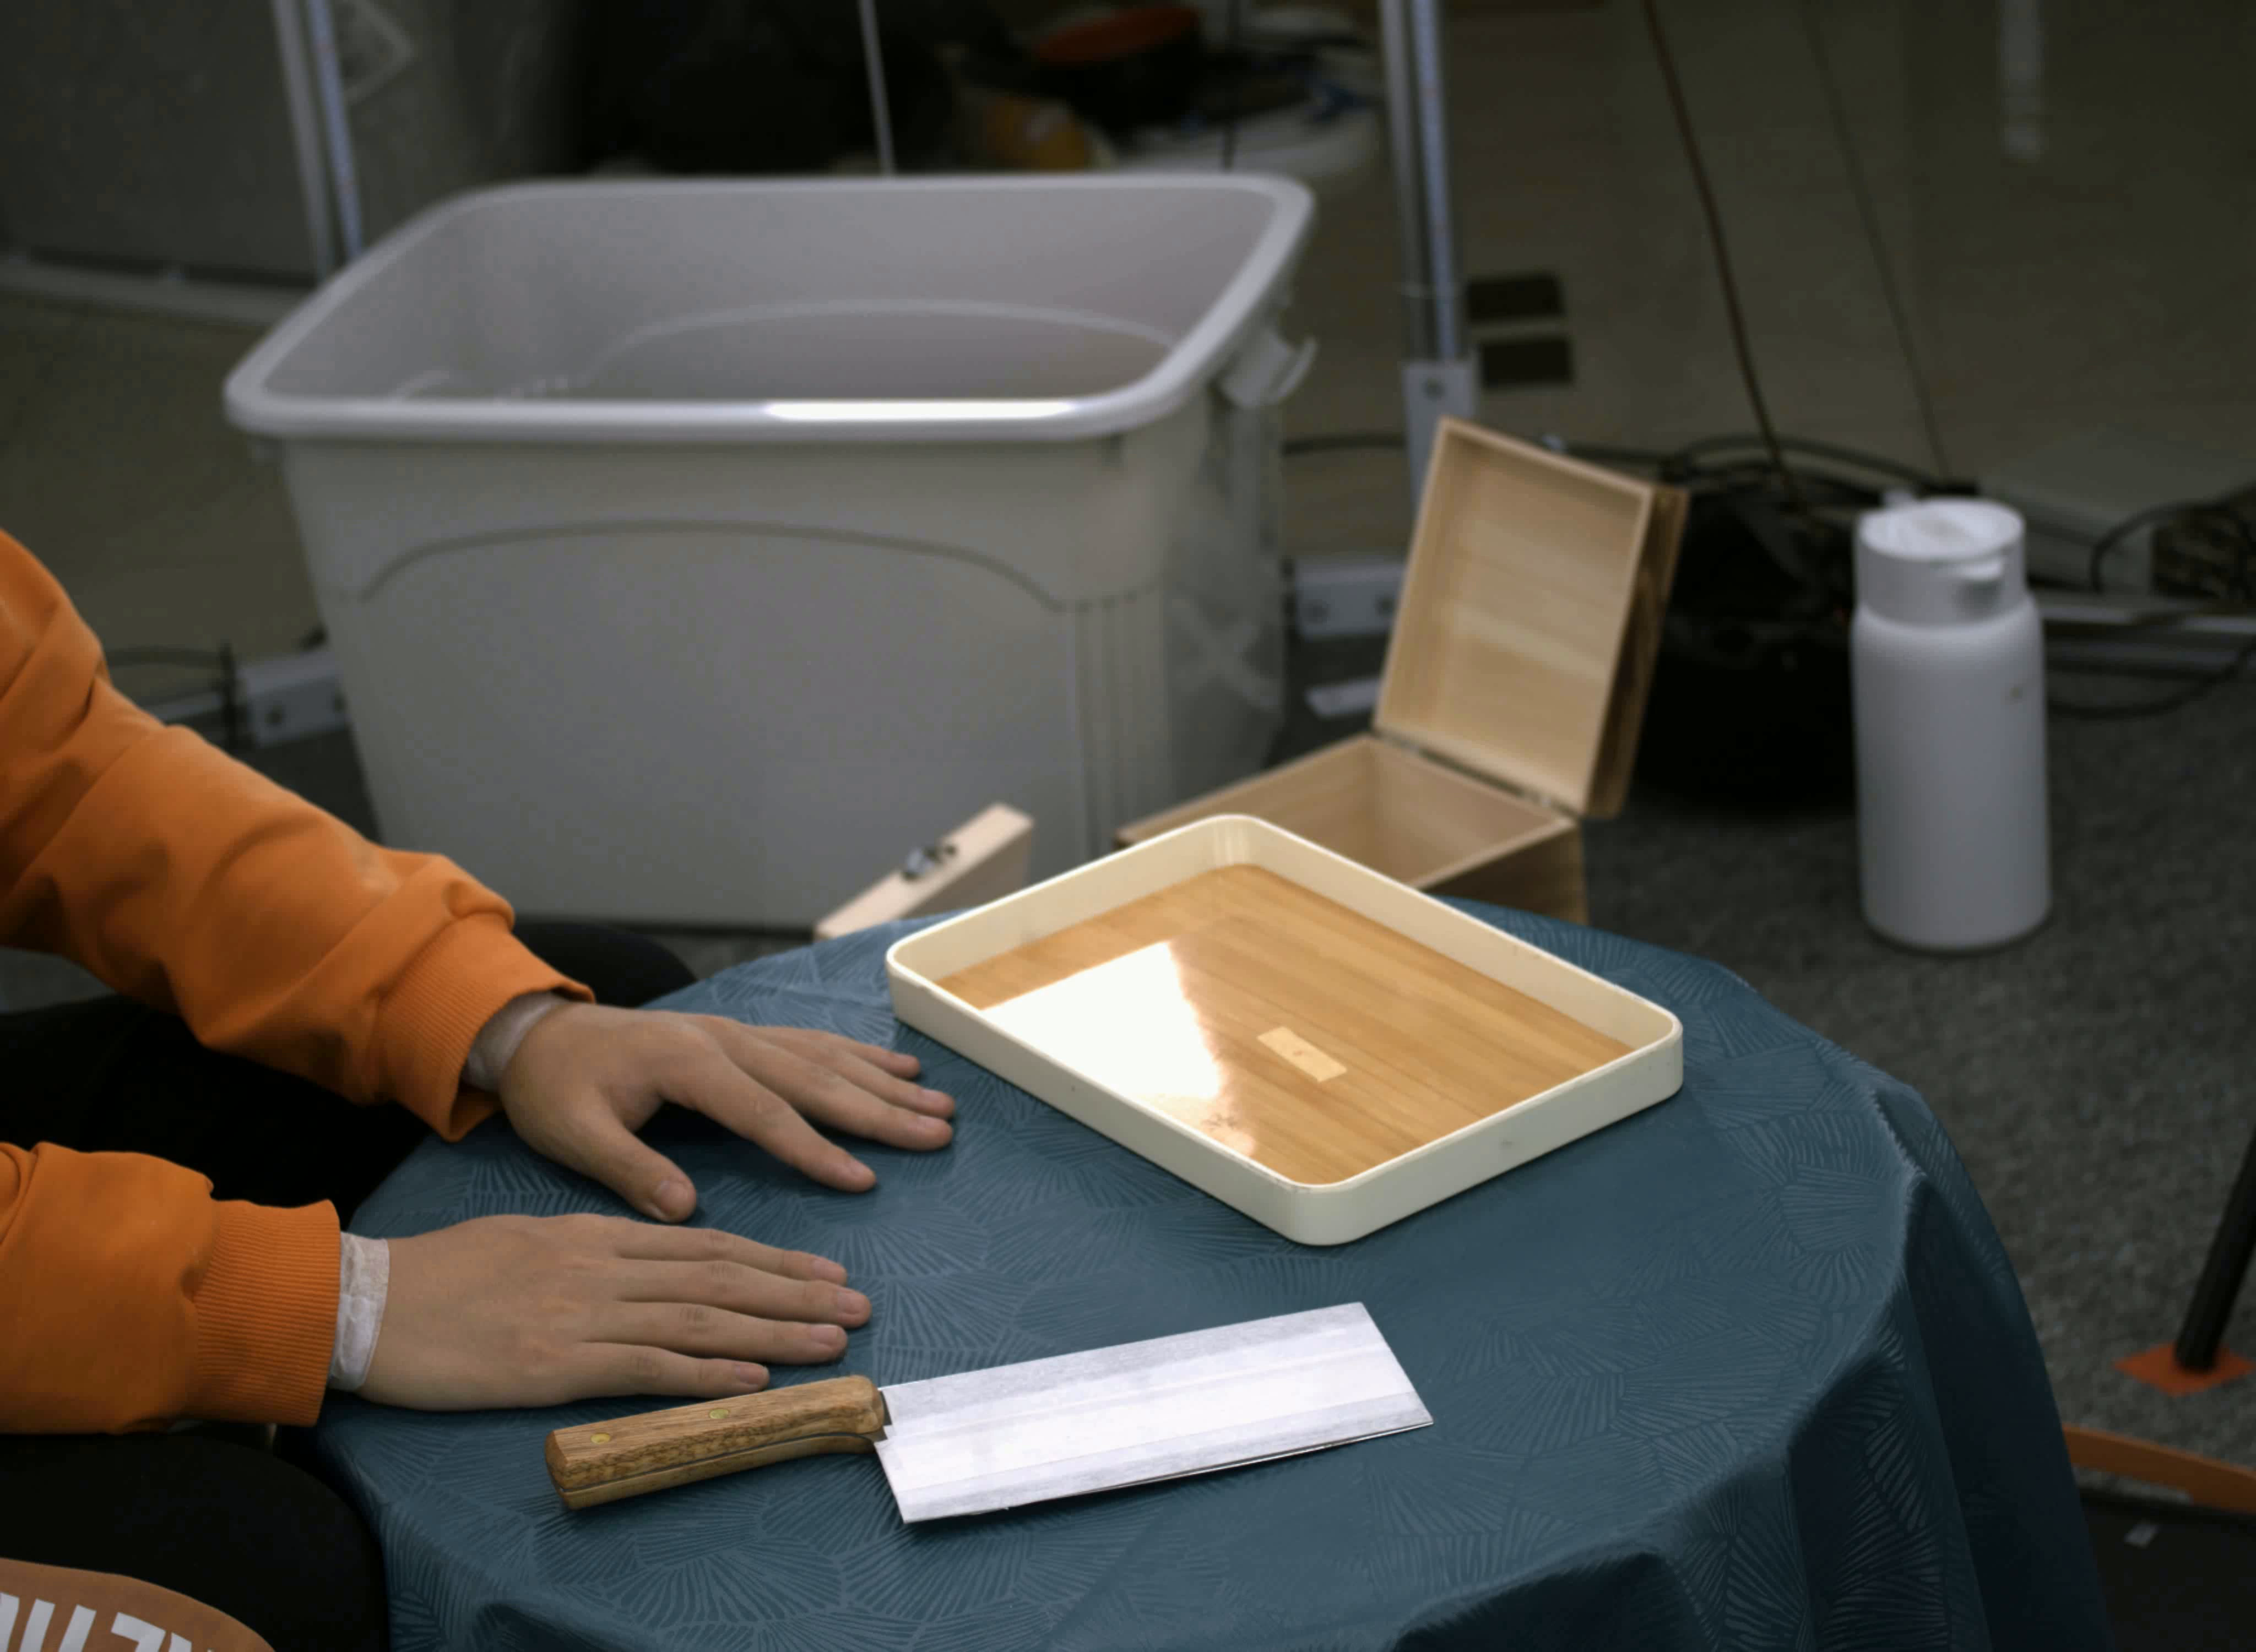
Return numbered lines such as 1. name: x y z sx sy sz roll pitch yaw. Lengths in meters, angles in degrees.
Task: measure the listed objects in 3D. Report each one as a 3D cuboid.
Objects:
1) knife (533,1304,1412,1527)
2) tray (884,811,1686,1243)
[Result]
1. knife: -0.052 0.213 1.983 0.305 0.021 0.091 -9 26 -11
2. tray: 0.058 0.075 2.236 0.190 0.028 0.297 -22 29 -30
